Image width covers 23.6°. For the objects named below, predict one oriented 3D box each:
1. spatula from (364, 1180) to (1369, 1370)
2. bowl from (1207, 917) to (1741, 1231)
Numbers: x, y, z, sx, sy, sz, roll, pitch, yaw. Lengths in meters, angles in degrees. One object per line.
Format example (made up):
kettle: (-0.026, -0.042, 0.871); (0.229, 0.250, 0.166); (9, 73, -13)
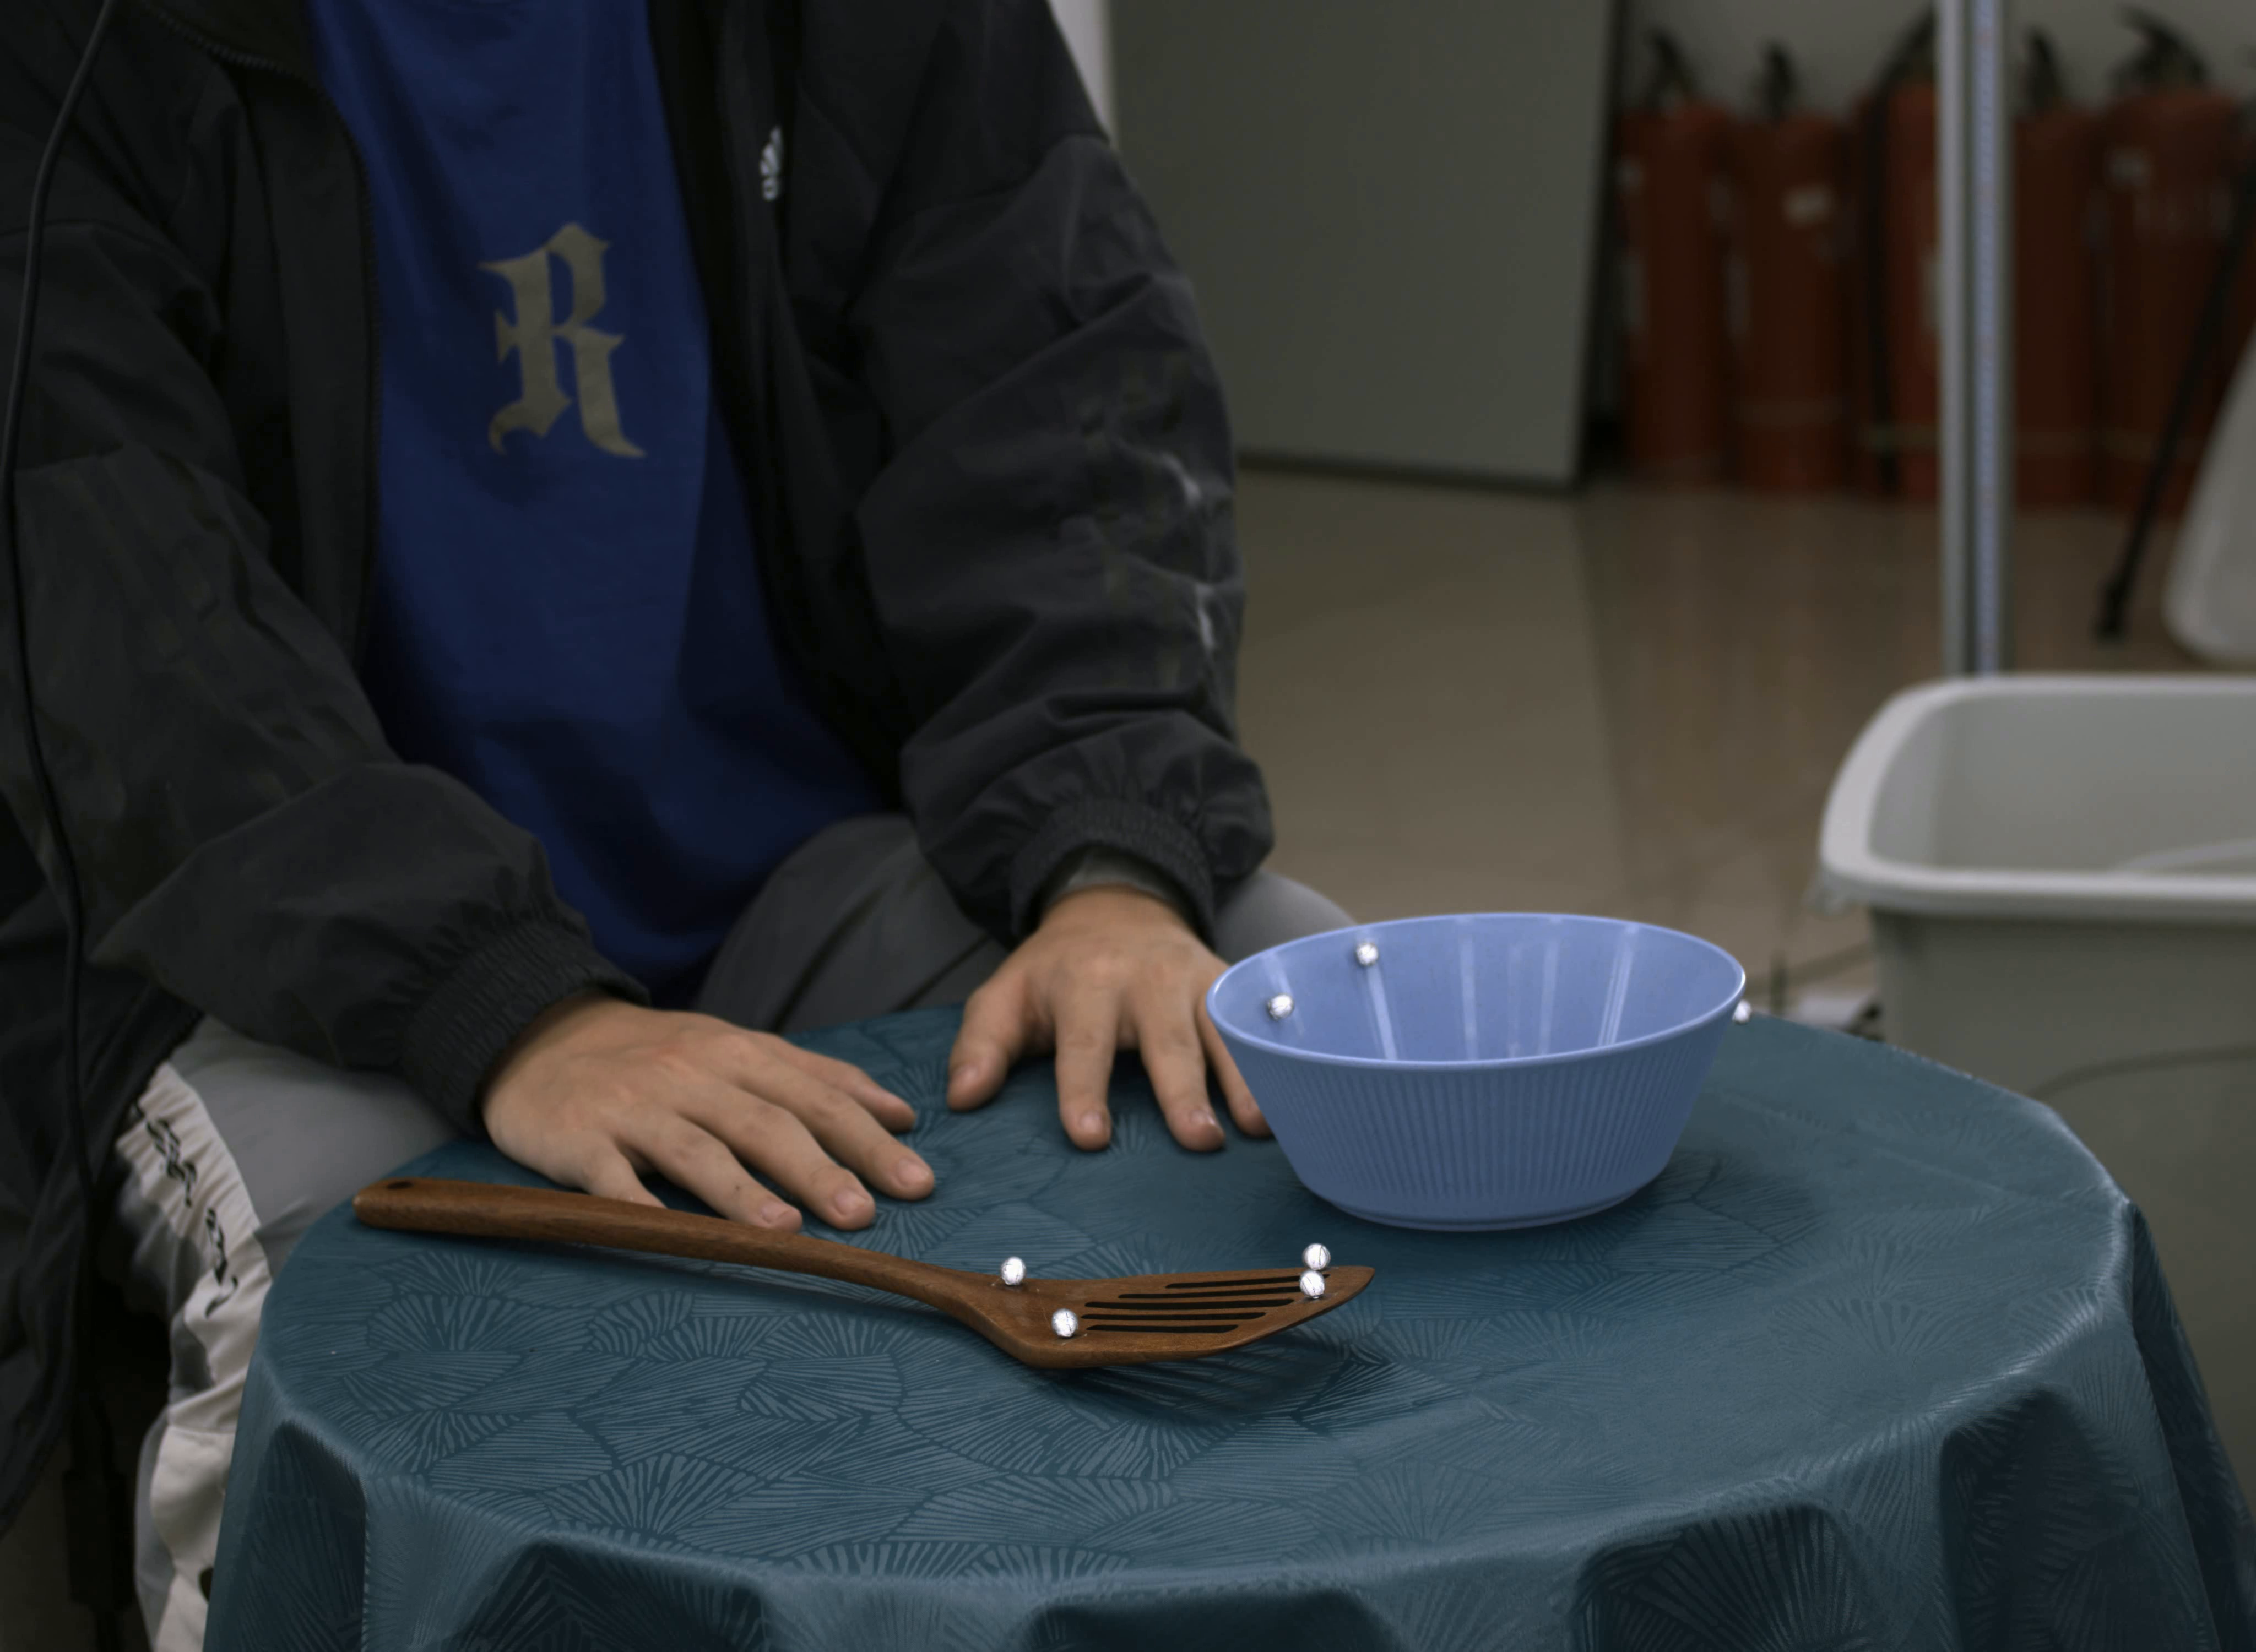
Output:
spatula: (-0.096, 0.138, 1.688); (0.389, 0.024, 0.084); (5, 15, 37)
bowl: (0.114, 0.082, 1.747); (0.174, 0.071, 0.176); (-5, 12, 0)
